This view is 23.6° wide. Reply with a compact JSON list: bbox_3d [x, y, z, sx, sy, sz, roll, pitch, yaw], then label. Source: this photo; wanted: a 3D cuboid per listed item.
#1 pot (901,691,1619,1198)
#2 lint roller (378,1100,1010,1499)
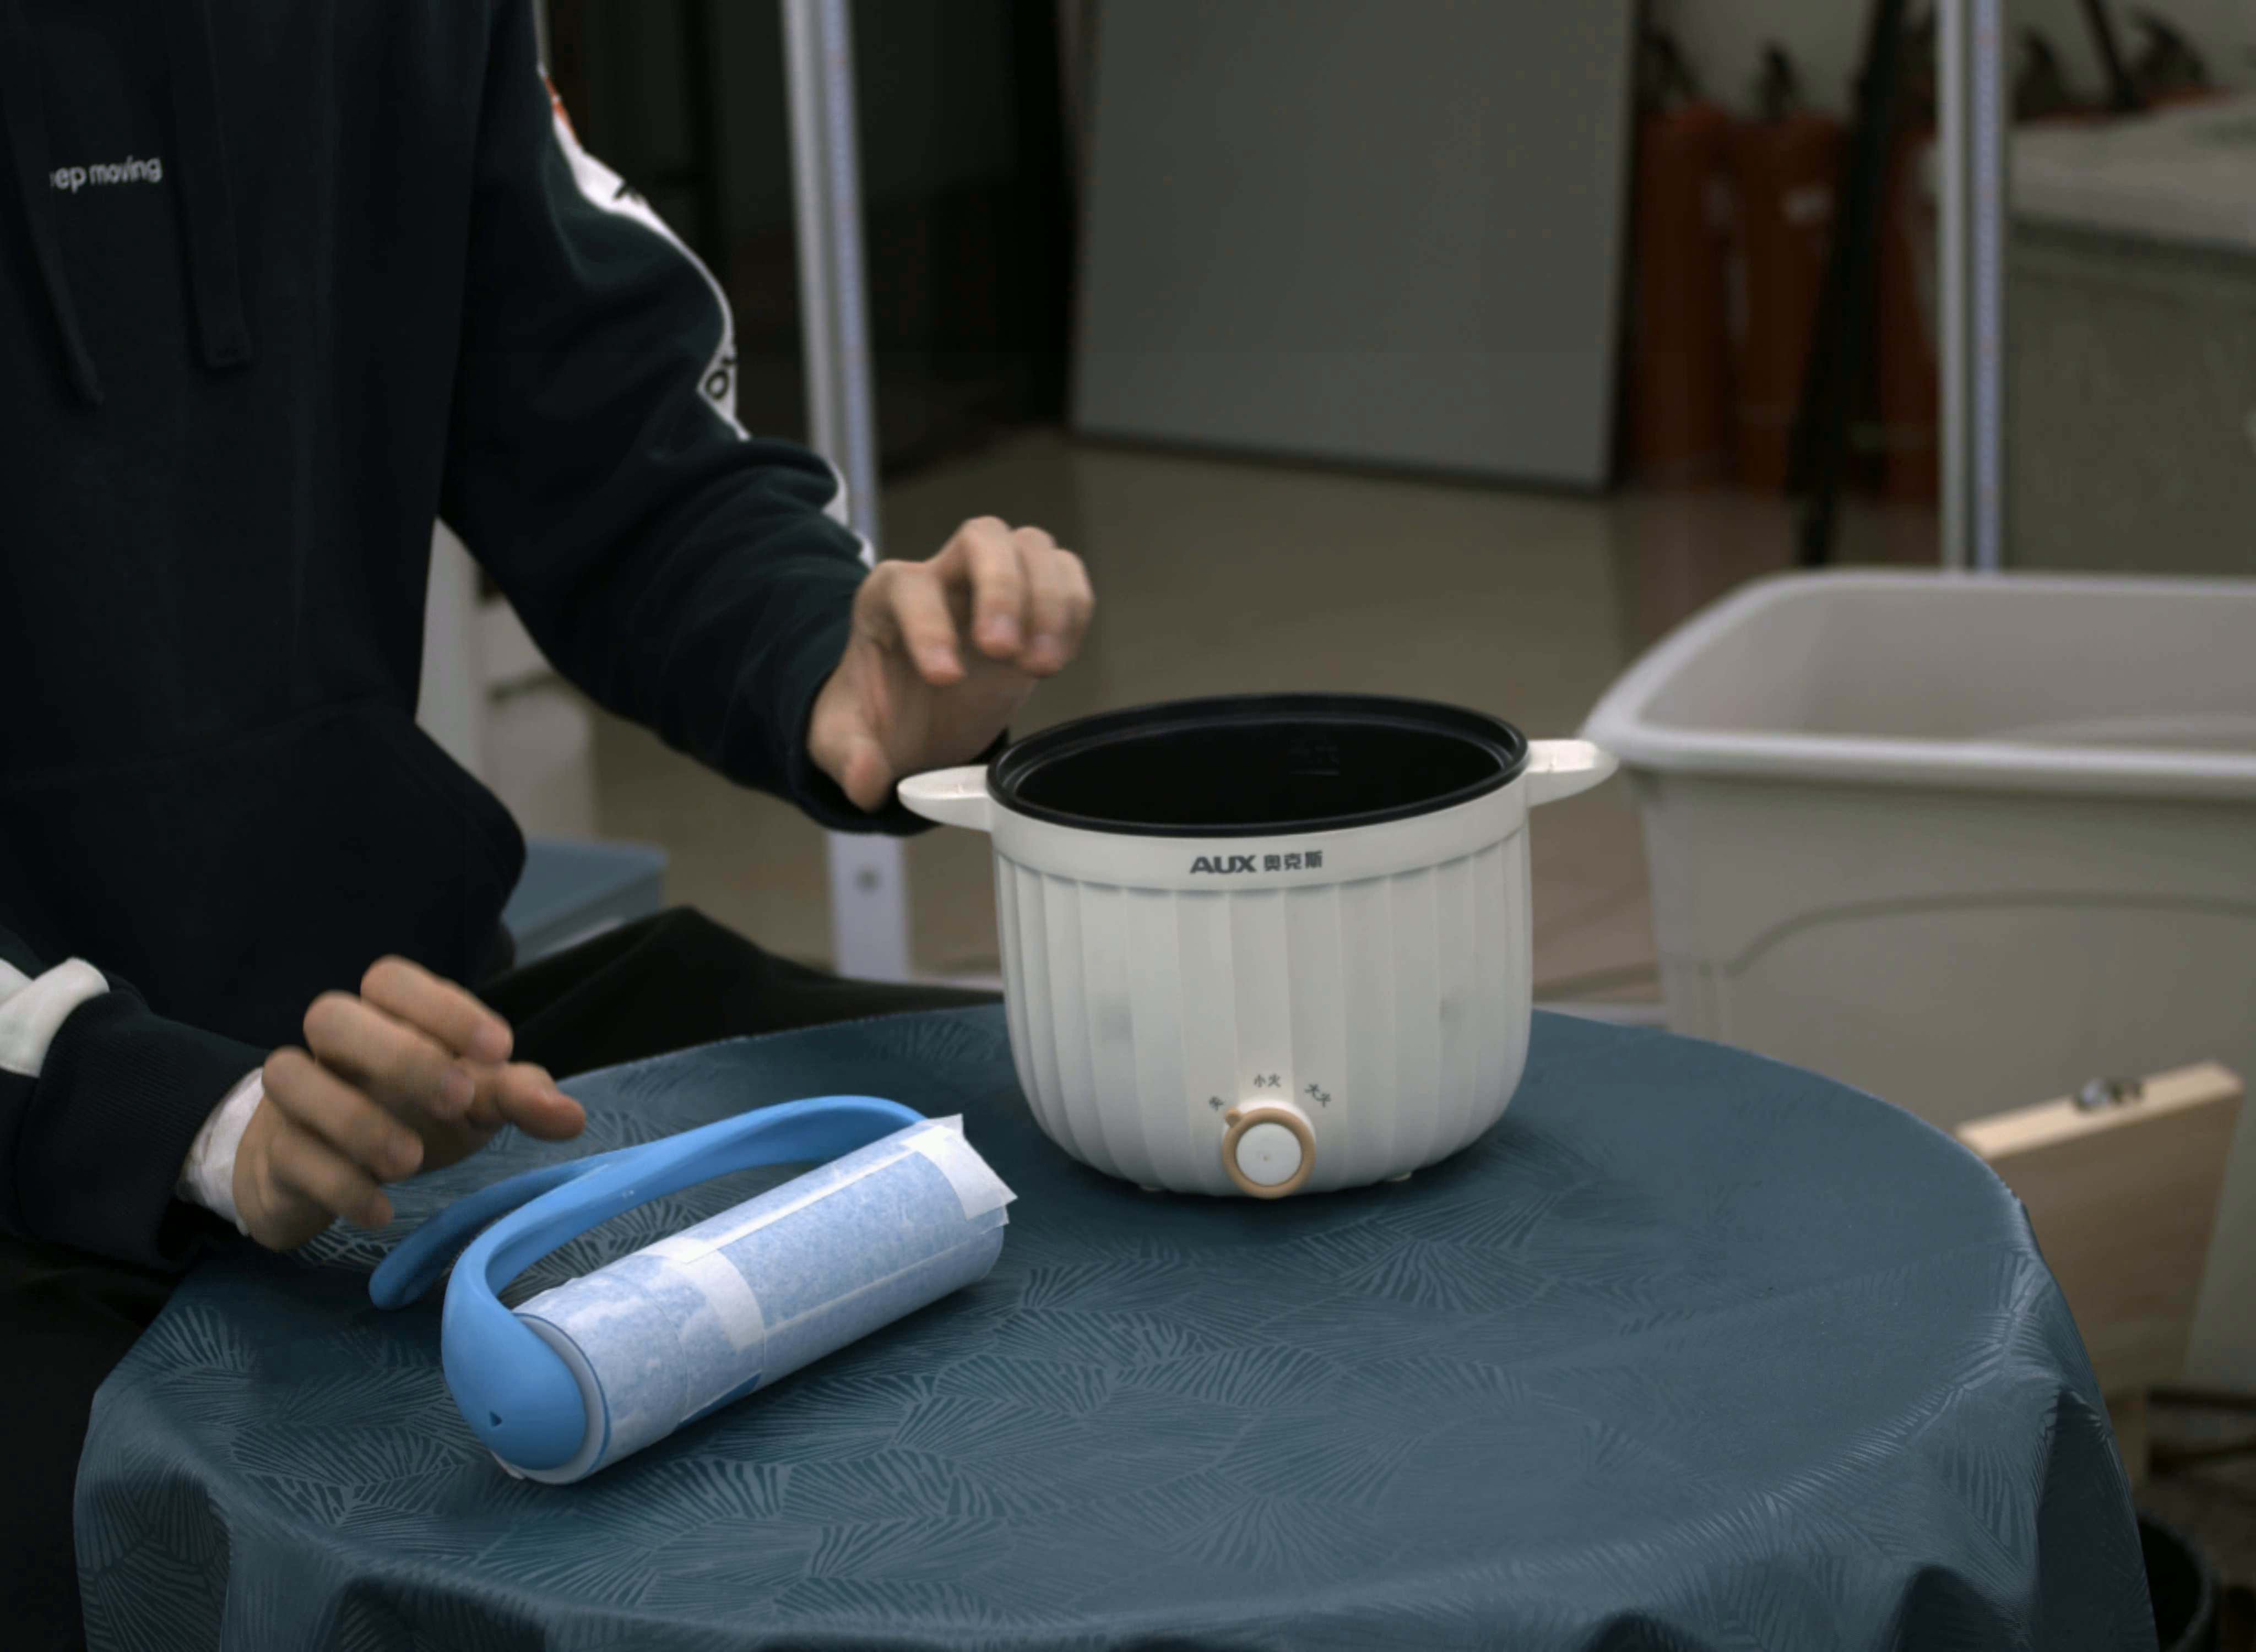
[{"bbox_3d":[0.048,0.042,1.786,0.238,0.144,0.190,-4,11,3],"label":"pot"},{"bbox_3d":[-0.160,0.136,1.642,0.181,0.068,0.225,6,19,32],"label":"lint roller"}]
